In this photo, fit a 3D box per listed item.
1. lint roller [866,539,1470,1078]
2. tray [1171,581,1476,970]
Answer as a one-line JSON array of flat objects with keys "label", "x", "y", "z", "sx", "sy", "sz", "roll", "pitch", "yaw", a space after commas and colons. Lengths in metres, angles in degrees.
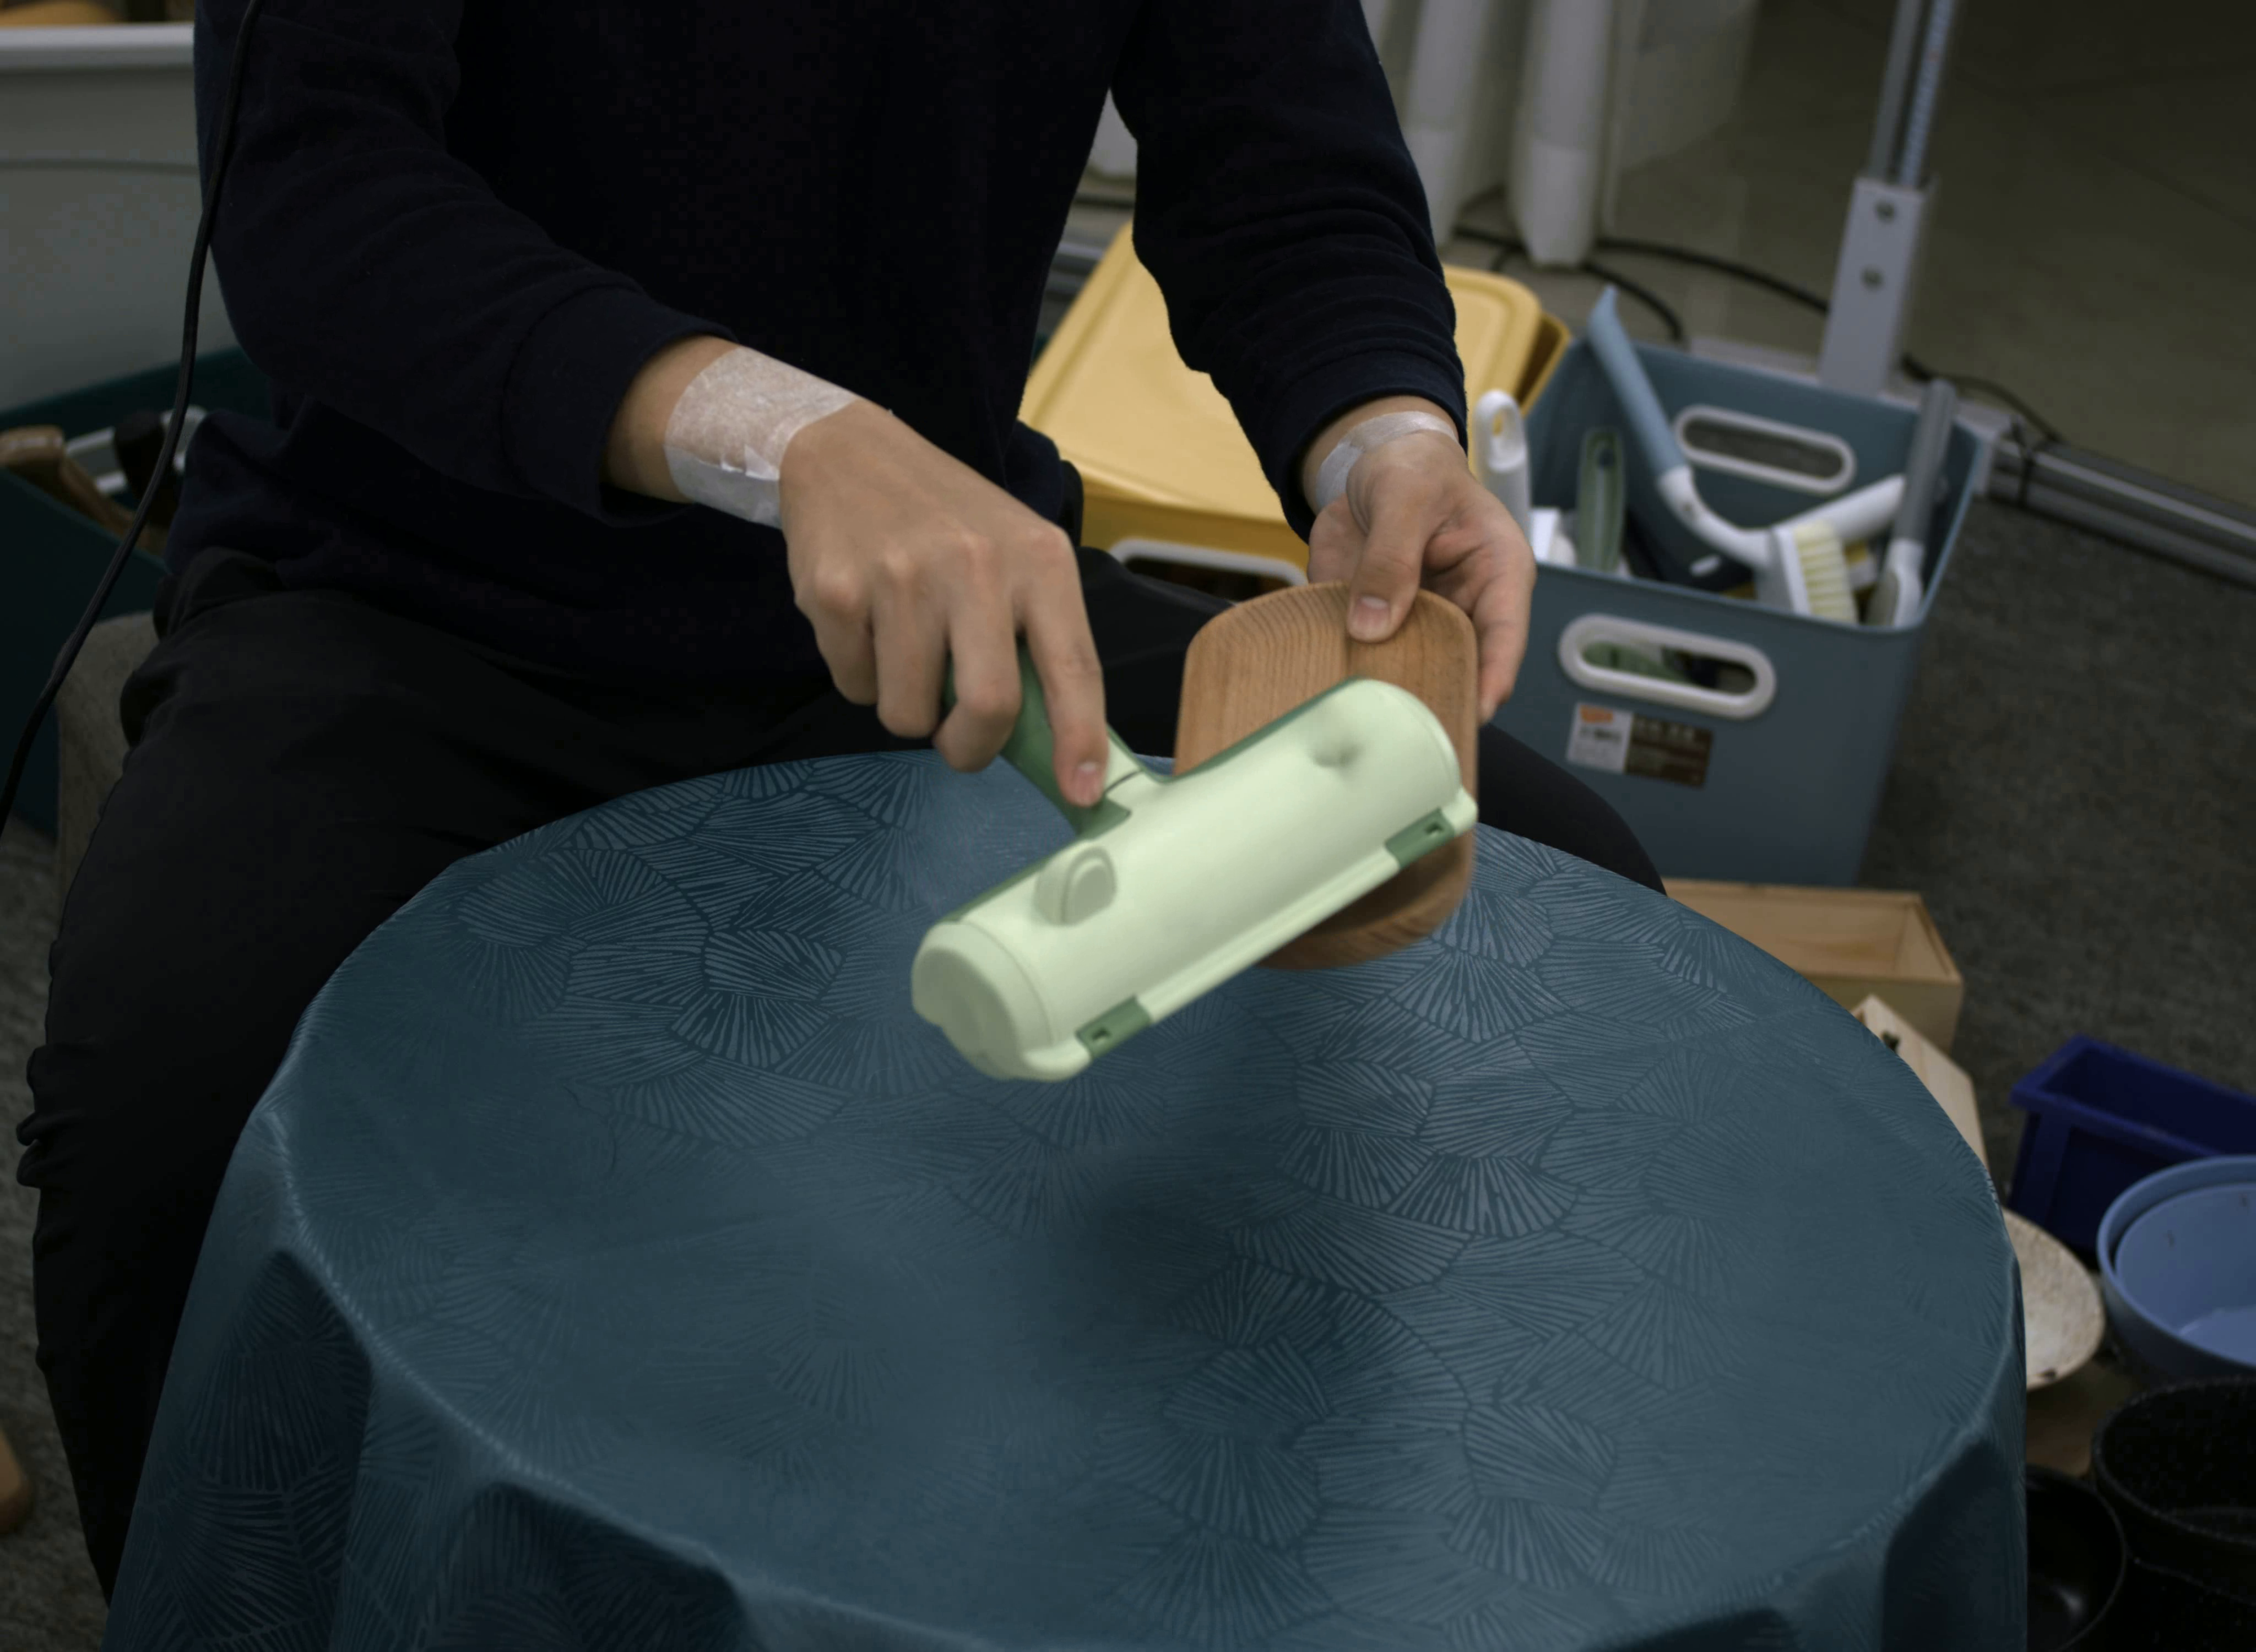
[{"label": "lint roller", "x": -0.013, "y": -0.033, "z": 1.649, "sx": 0.198, "sy": 0.082, "sz": 0.184, "roll": -31, "pitch": 76, "yaw": -34}, {"label": "tray", "x": 0.064, "y": -0.019, "z": 1.756, "sx": 0.101, "sy": 0.020, "sz": 0.232, "roll": -5, "pitch": 32, "yaw": 7}]
